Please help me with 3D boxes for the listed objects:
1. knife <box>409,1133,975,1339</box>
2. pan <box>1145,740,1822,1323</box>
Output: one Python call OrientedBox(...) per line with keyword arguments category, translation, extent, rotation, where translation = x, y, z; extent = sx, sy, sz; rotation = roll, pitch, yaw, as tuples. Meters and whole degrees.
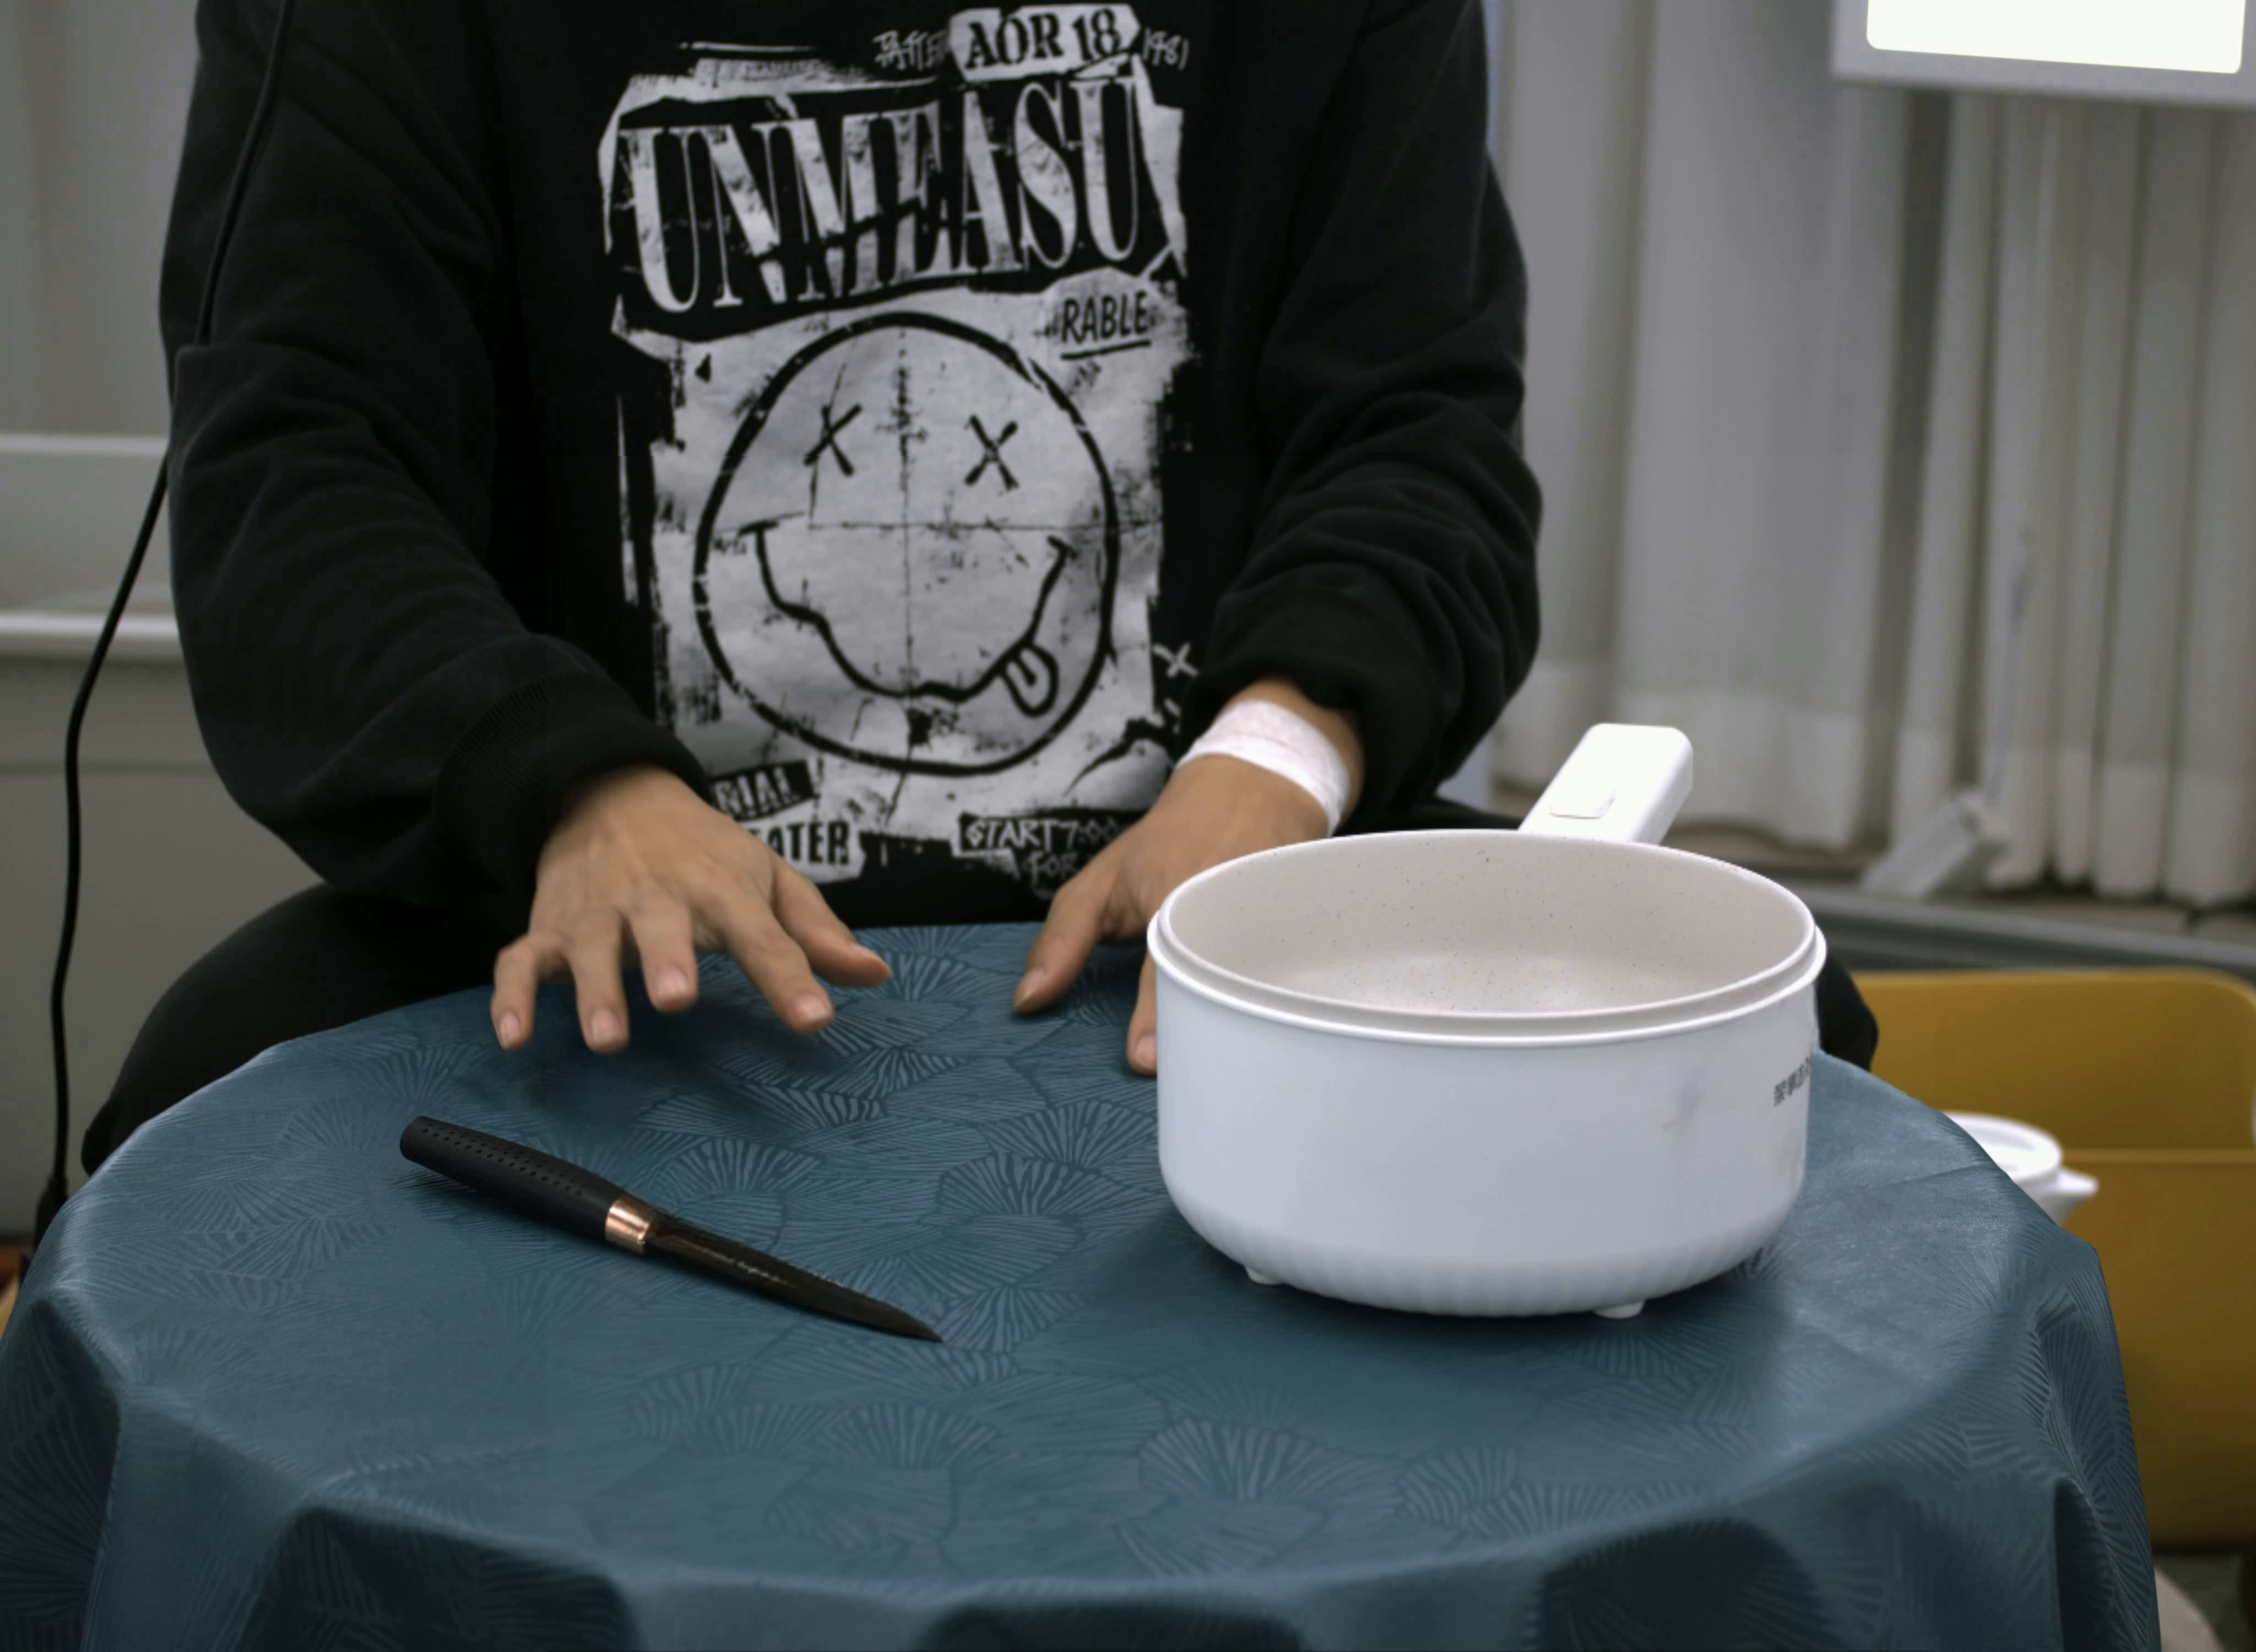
OrientedBox(category="knife", translation=(-0.133, 0.123, 1.564), extent=(0.222, 0.017, 0.026), rotation=(15, 9, 38))
OrientedBox(category="pan", translation=(0.126, 0.059, 1.643), extent=(0.199, 0.103, 0.354), rotation=(2, 15, 15))
